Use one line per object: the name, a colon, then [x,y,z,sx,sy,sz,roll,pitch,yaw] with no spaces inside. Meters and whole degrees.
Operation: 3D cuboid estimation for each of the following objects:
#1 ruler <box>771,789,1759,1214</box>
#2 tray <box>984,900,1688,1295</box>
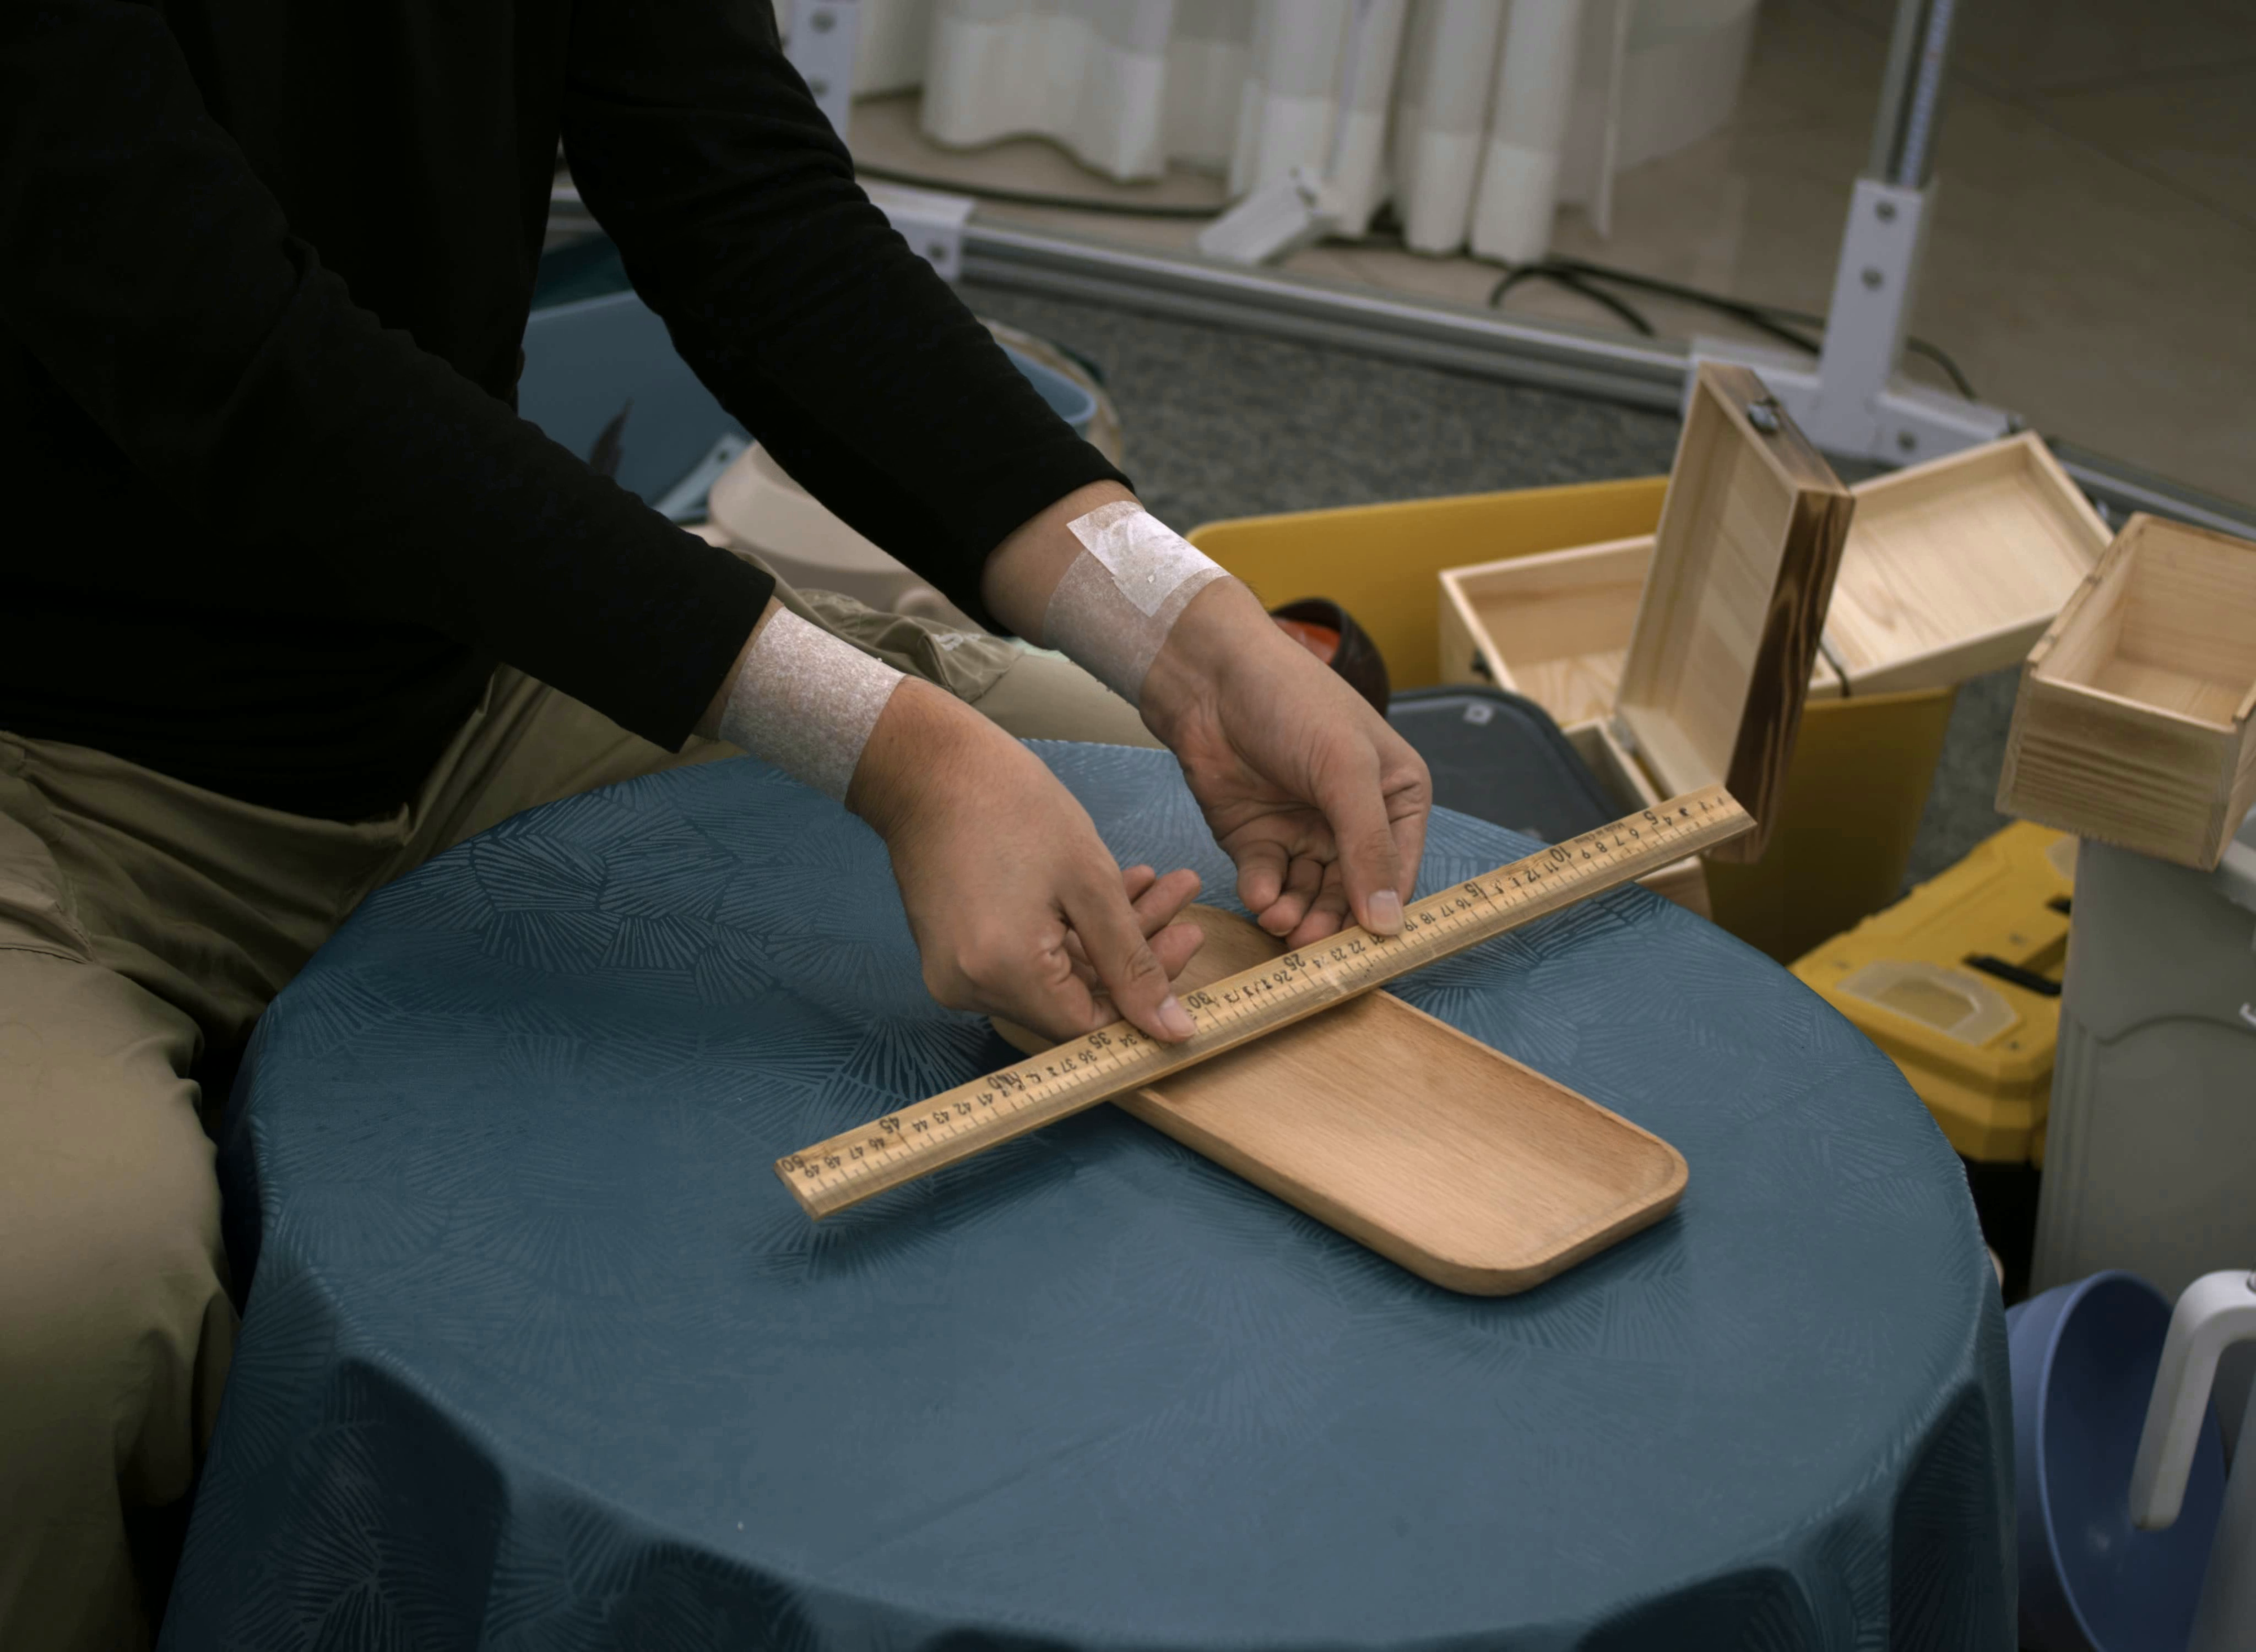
ruler: [0.063,0.055,1.902,0.498,0.006,0.027,-20,58,-42]
tray: [0.070,0.093,1.861,0.252,0.023,0.130,27,31,37]
